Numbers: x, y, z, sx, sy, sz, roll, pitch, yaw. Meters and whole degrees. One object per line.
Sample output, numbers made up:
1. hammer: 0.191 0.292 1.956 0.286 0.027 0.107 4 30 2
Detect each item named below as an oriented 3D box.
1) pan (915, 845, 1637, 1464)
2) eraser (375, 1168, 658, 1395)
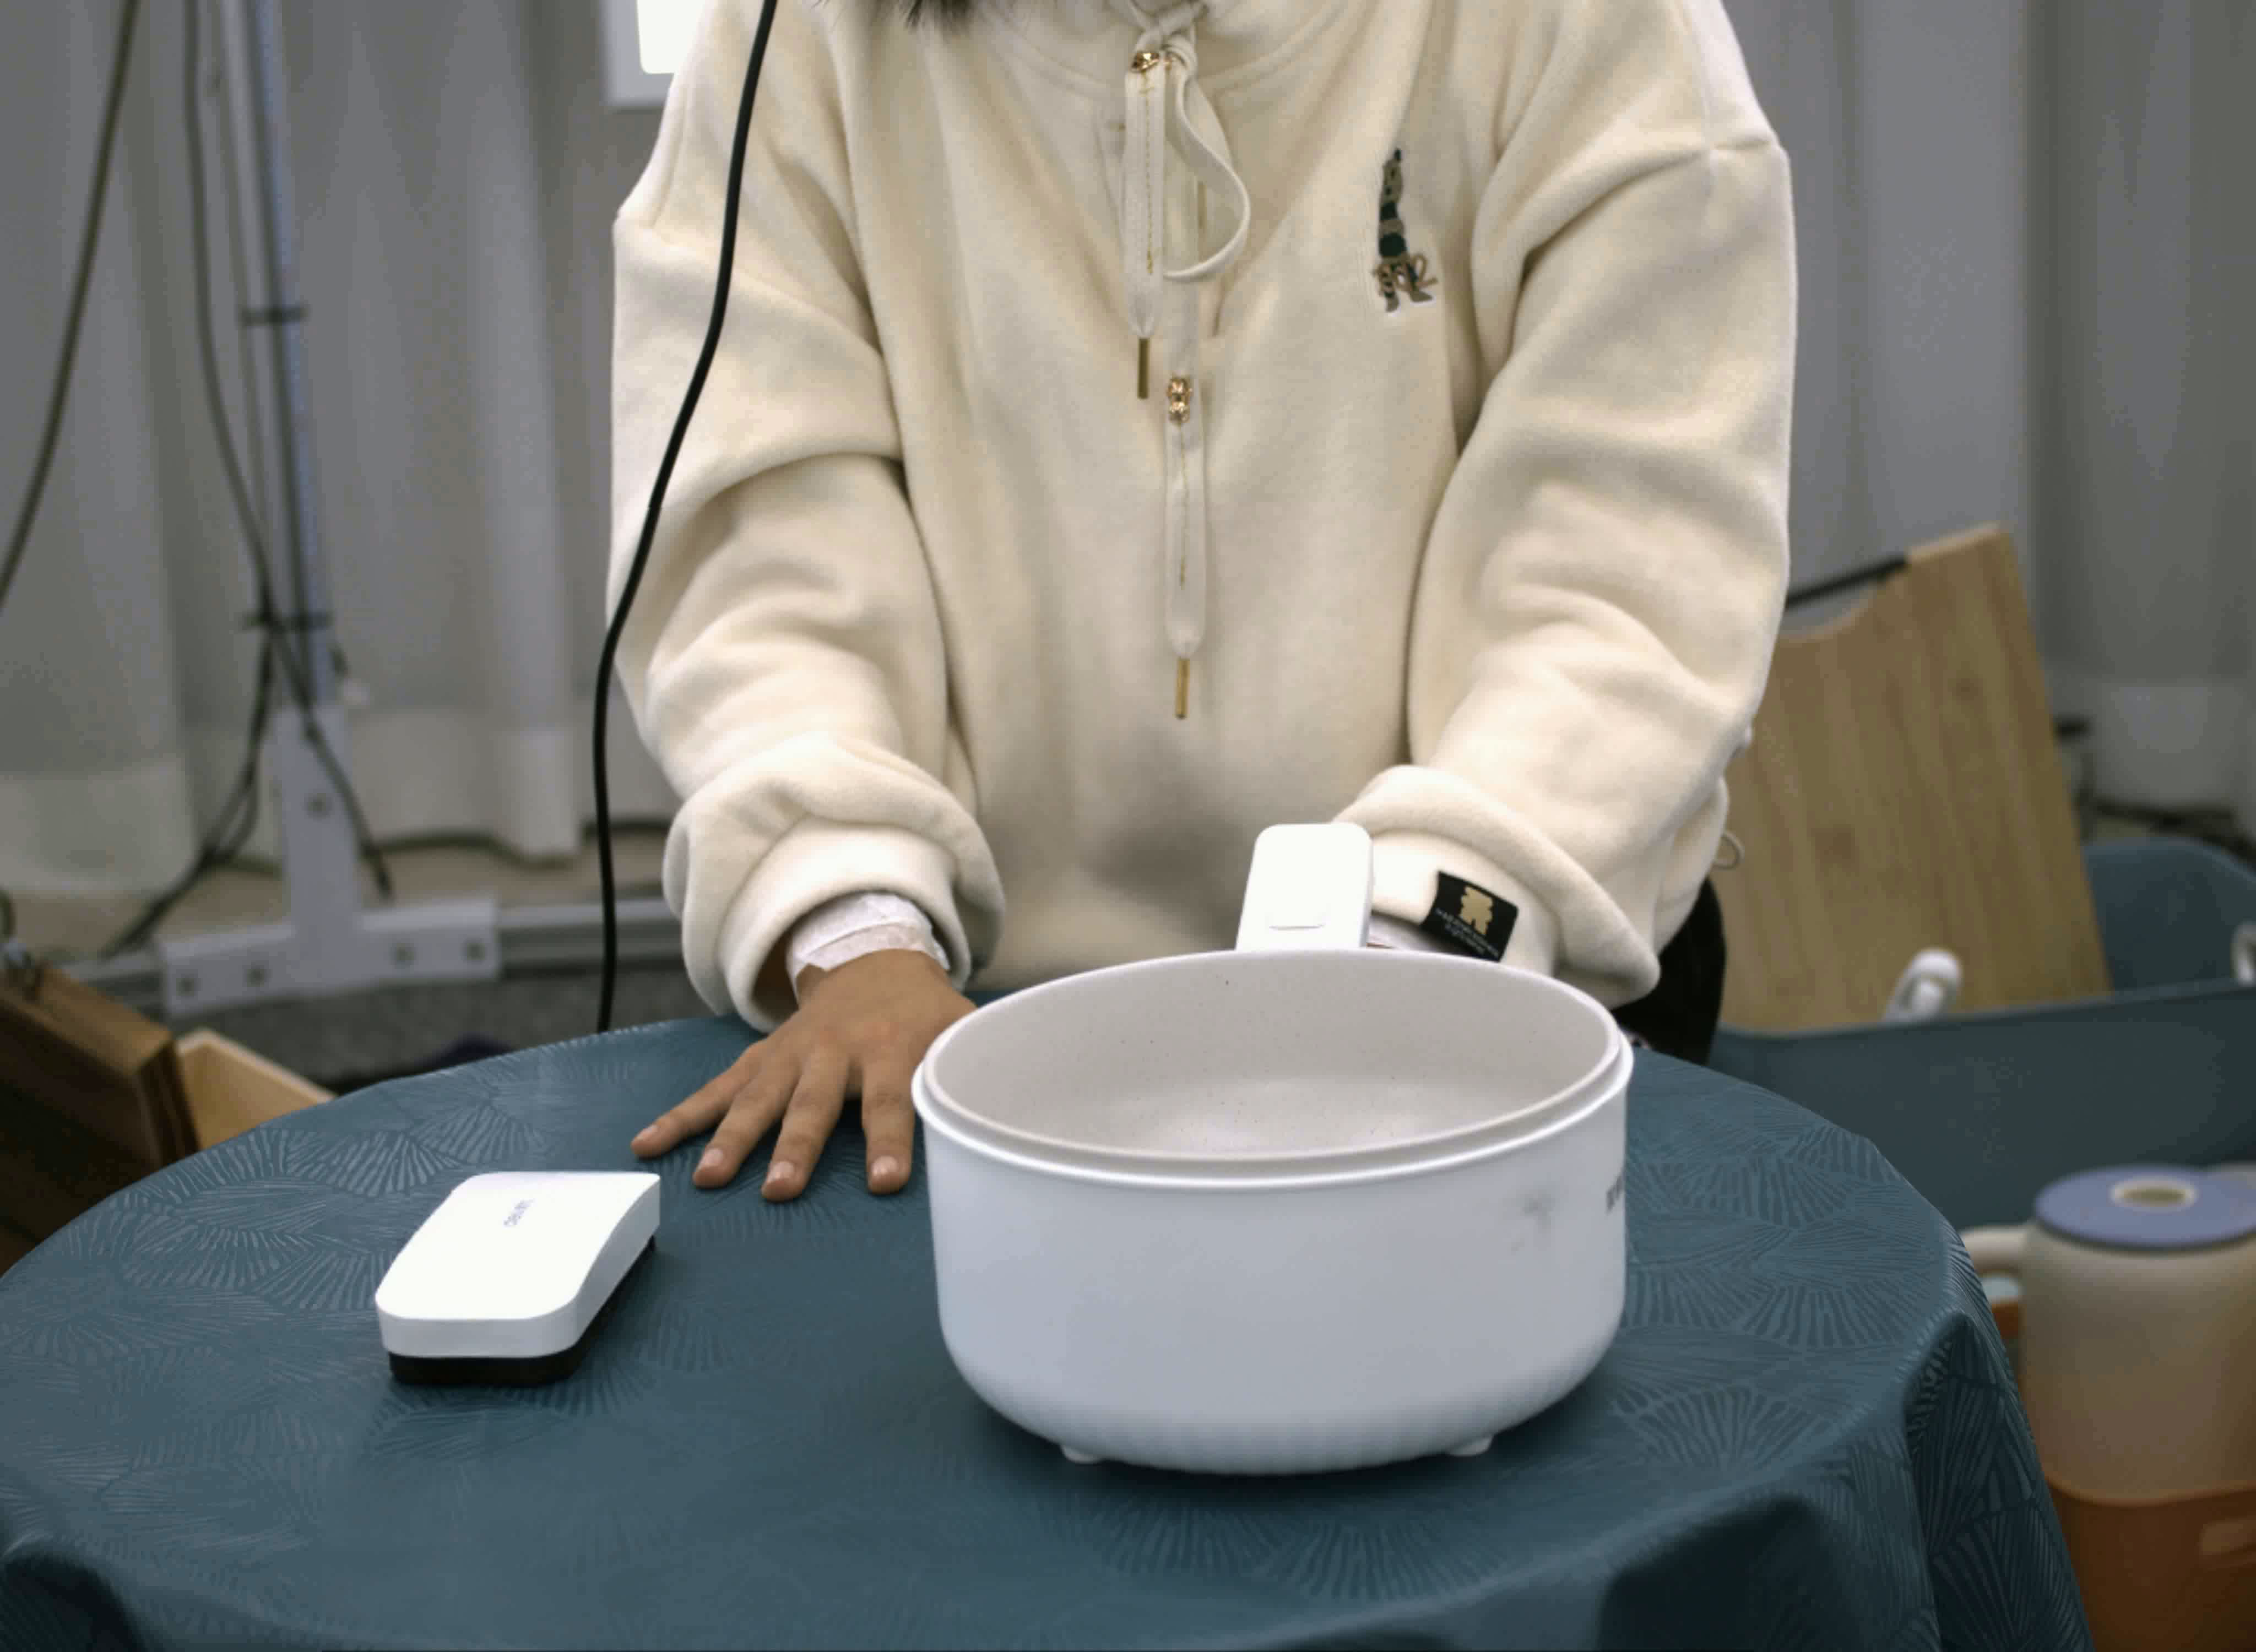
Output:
1. pan: 0.048 0.091 1.604 0.201 0.102 0.356 -1 12 5
2. eraser: -0.179 0.131 1.629 0.063 0.034 0.132 2 16 8
